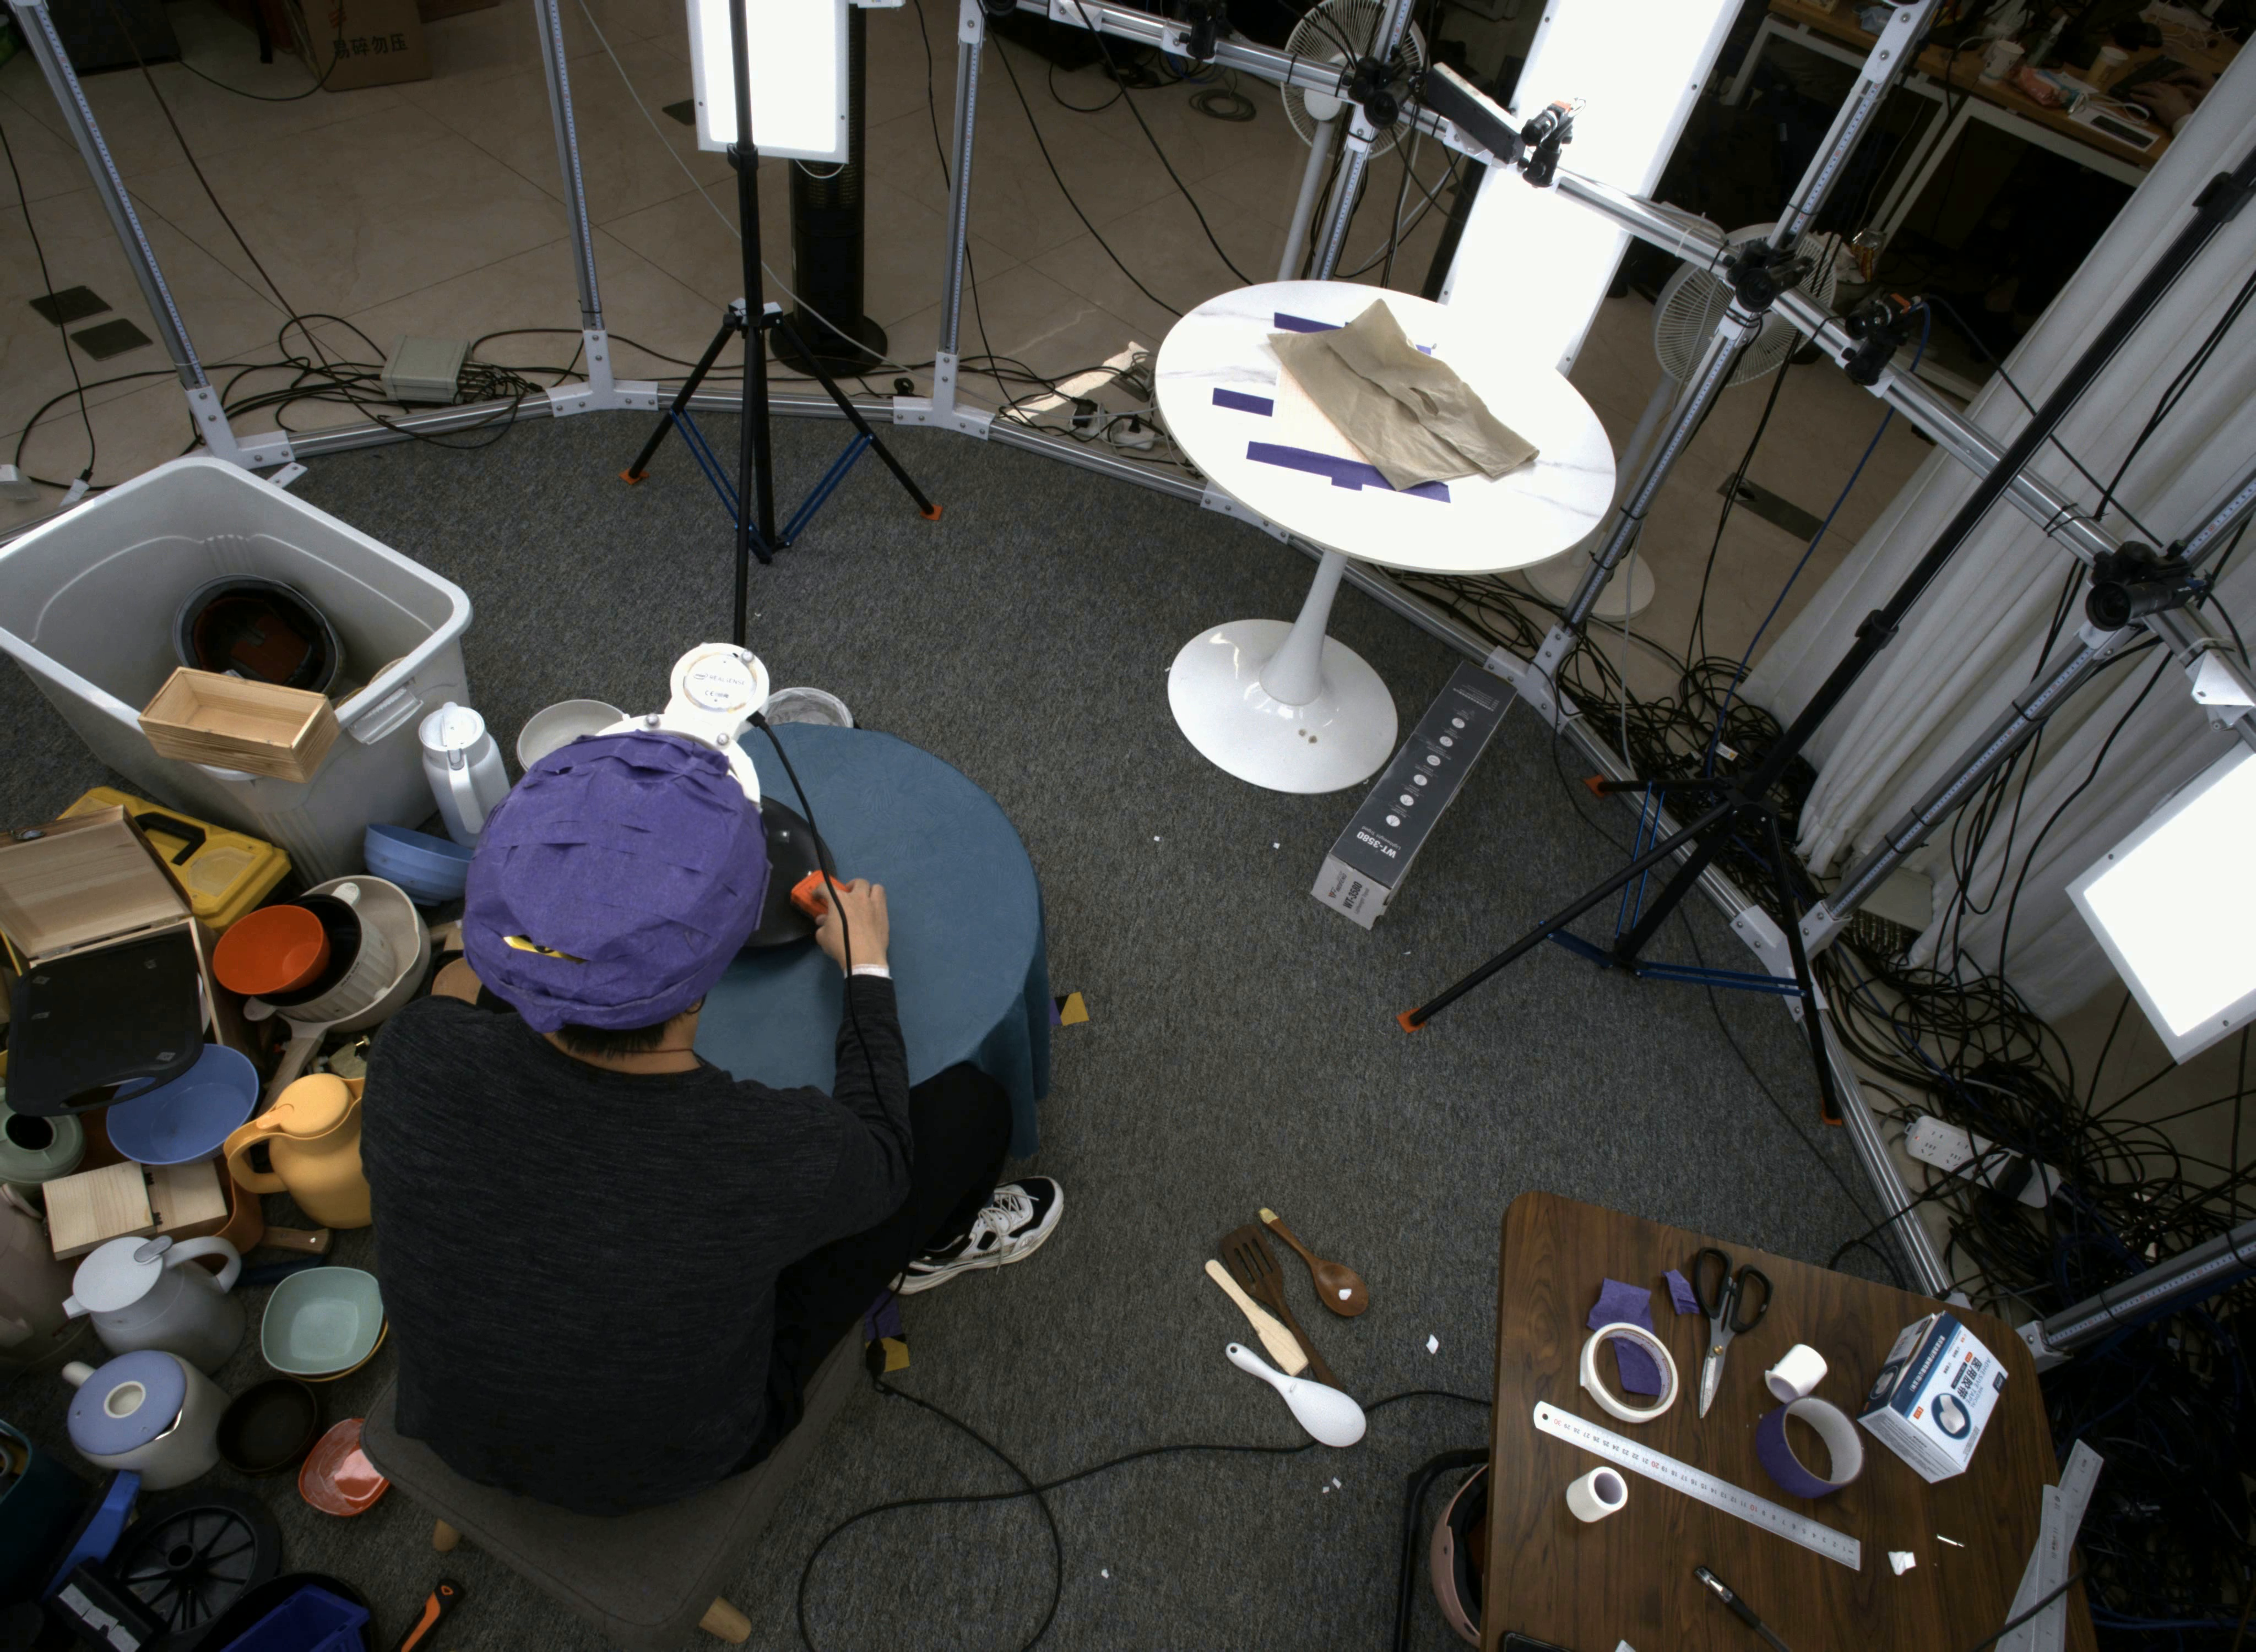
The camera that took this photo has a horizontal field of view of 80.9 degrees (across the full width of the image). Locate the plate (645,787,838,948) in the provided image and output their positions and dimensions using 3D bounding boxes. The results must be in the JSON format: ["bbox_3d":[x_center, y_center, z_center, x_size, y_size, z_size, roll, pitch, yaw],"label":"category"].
[{"bbox_3d":[-0.482,0.052,1.612,0.248,0.023,0.239,23,43,-21],"label":"plate"}]

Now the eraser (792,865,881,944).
[{"bbox_3d":[-0.366,0.096,1.627,0.106,0.023,0.059,35,52,10],"label":"eraser"}]
